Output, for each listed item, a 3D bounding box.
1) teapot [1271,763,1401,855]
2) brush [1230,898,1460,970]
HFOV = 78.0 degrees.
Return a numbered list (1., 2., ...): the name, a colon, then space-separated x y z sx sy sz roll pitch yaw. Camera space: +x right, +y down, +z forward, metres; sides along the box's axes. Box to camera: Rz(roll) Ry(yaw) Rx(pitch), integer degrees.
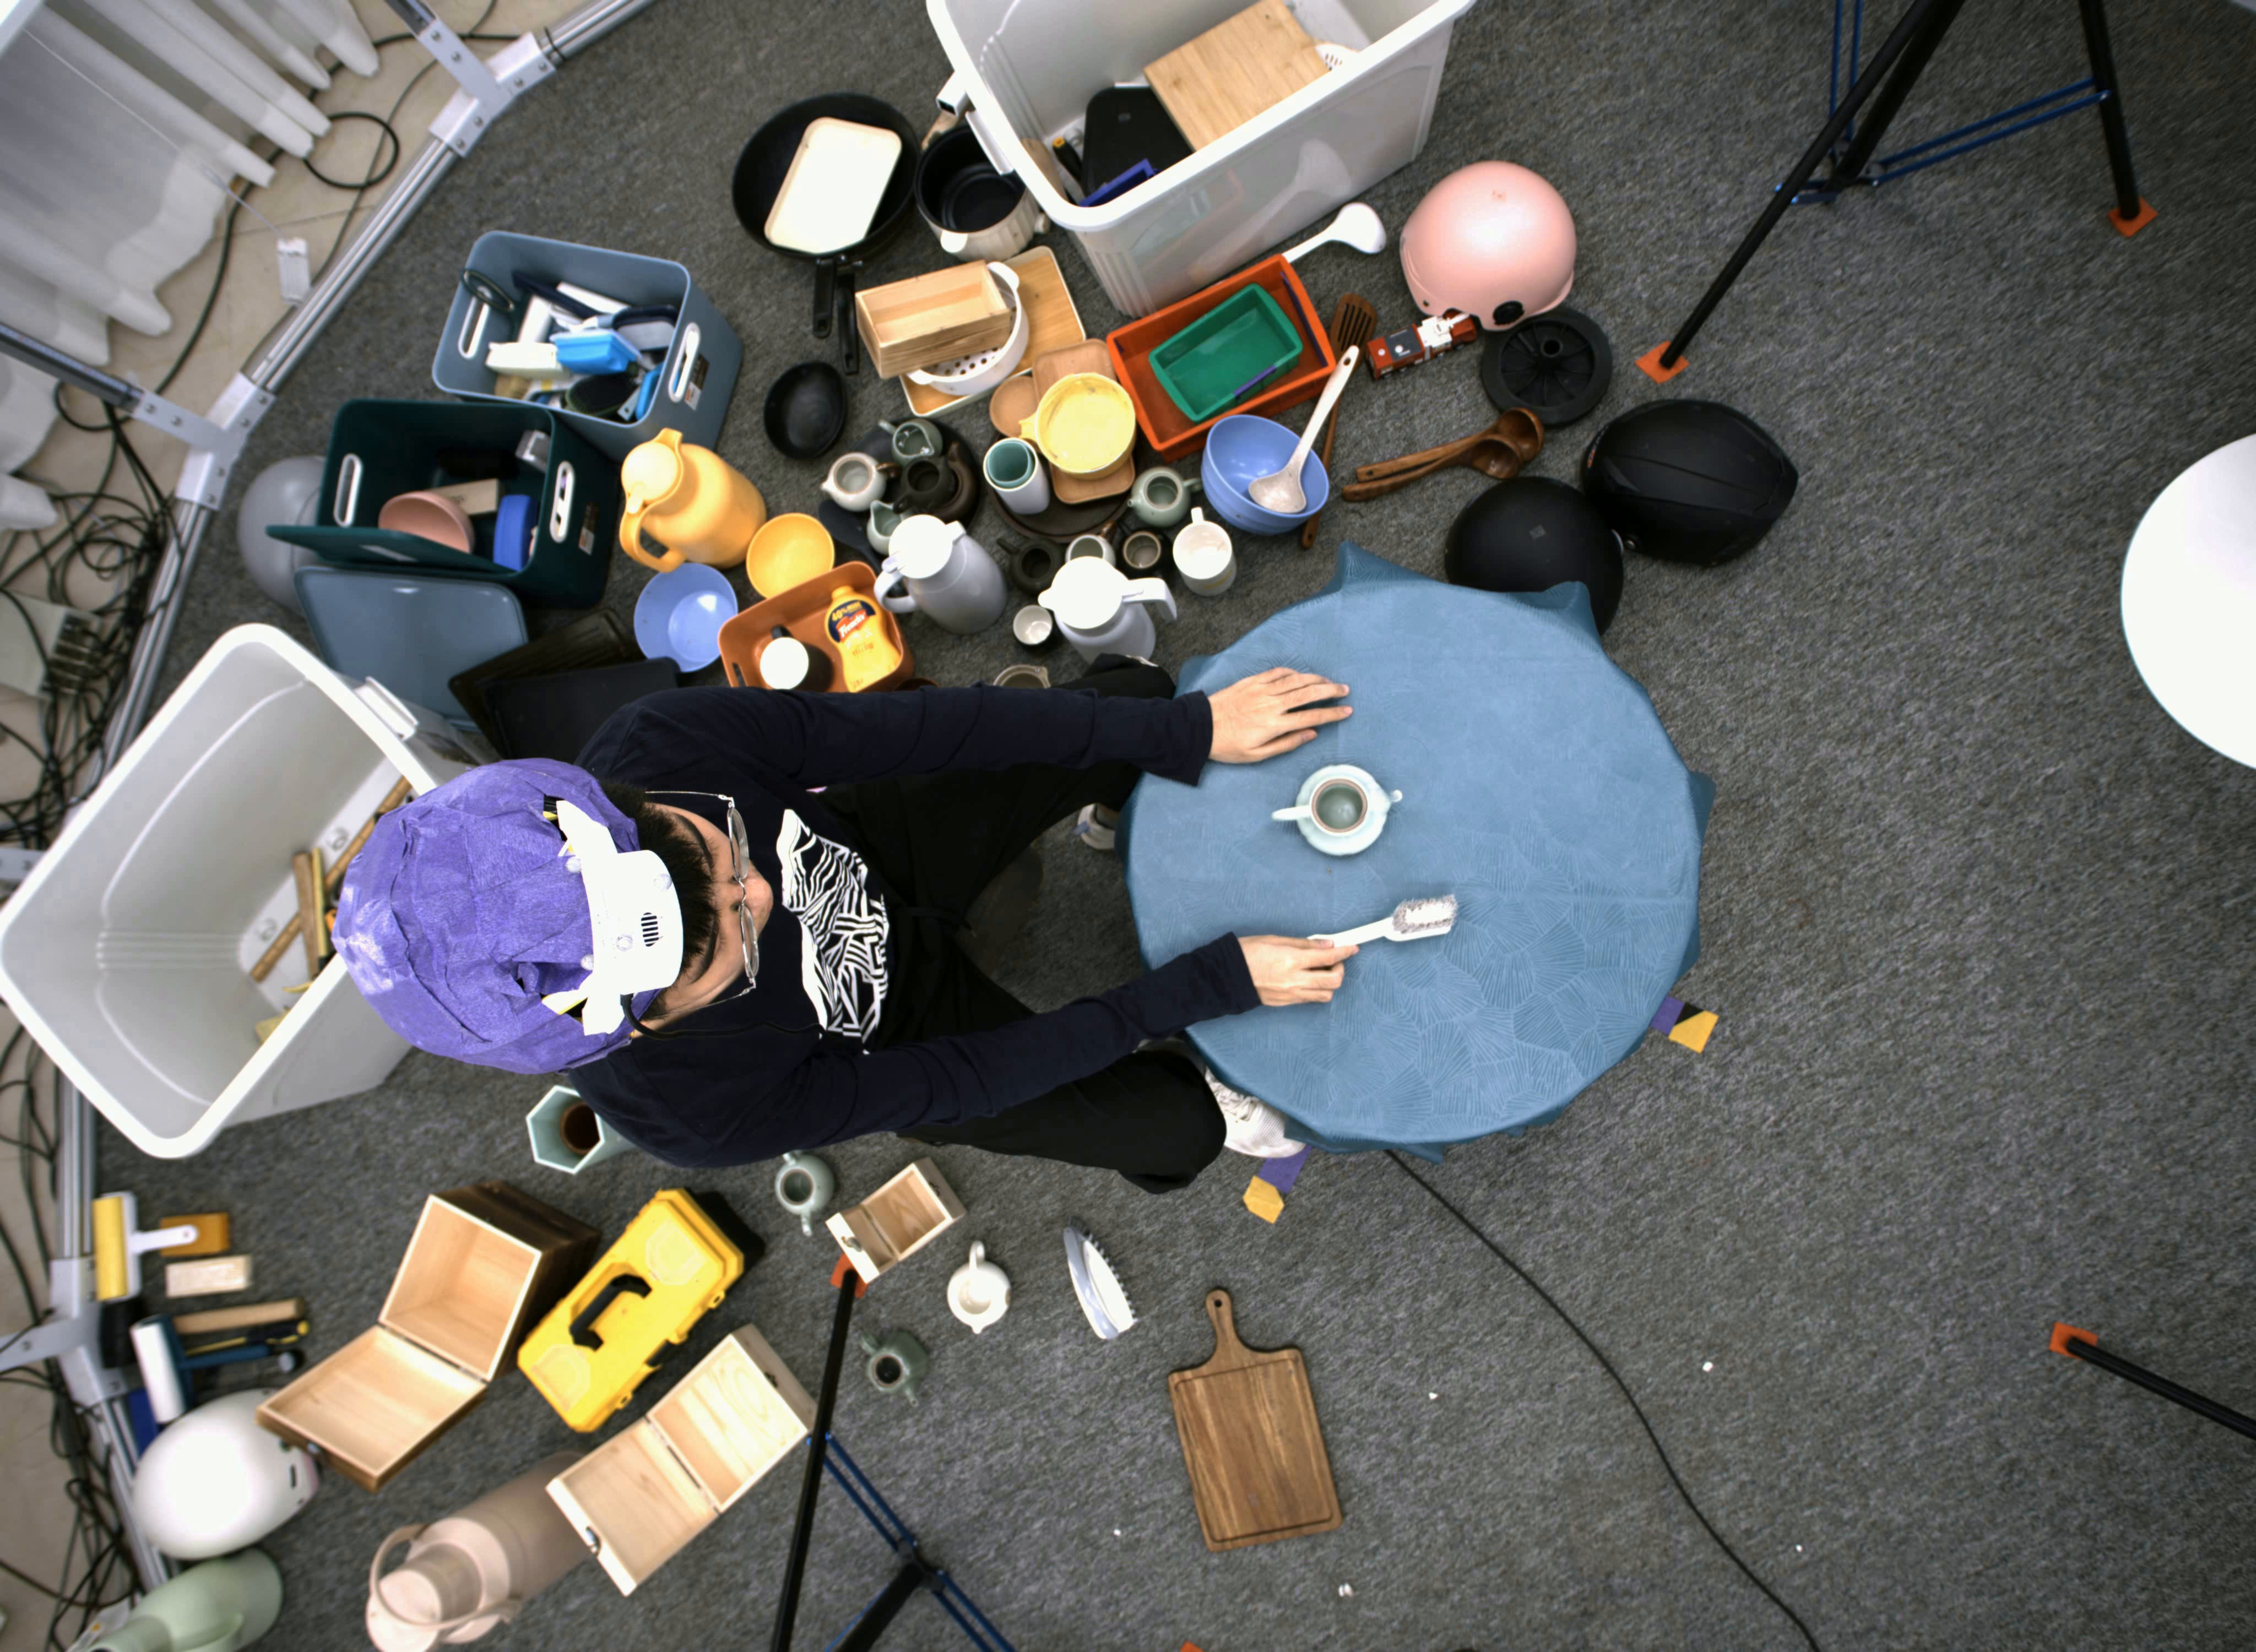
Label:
1. teapot: 0.217 -0.019 1.443 0.137 0.061 0.096 -12 87 9
2. brush: 0.223 0.113 1.440 0.245 0.050 0.034 -12 73 10
